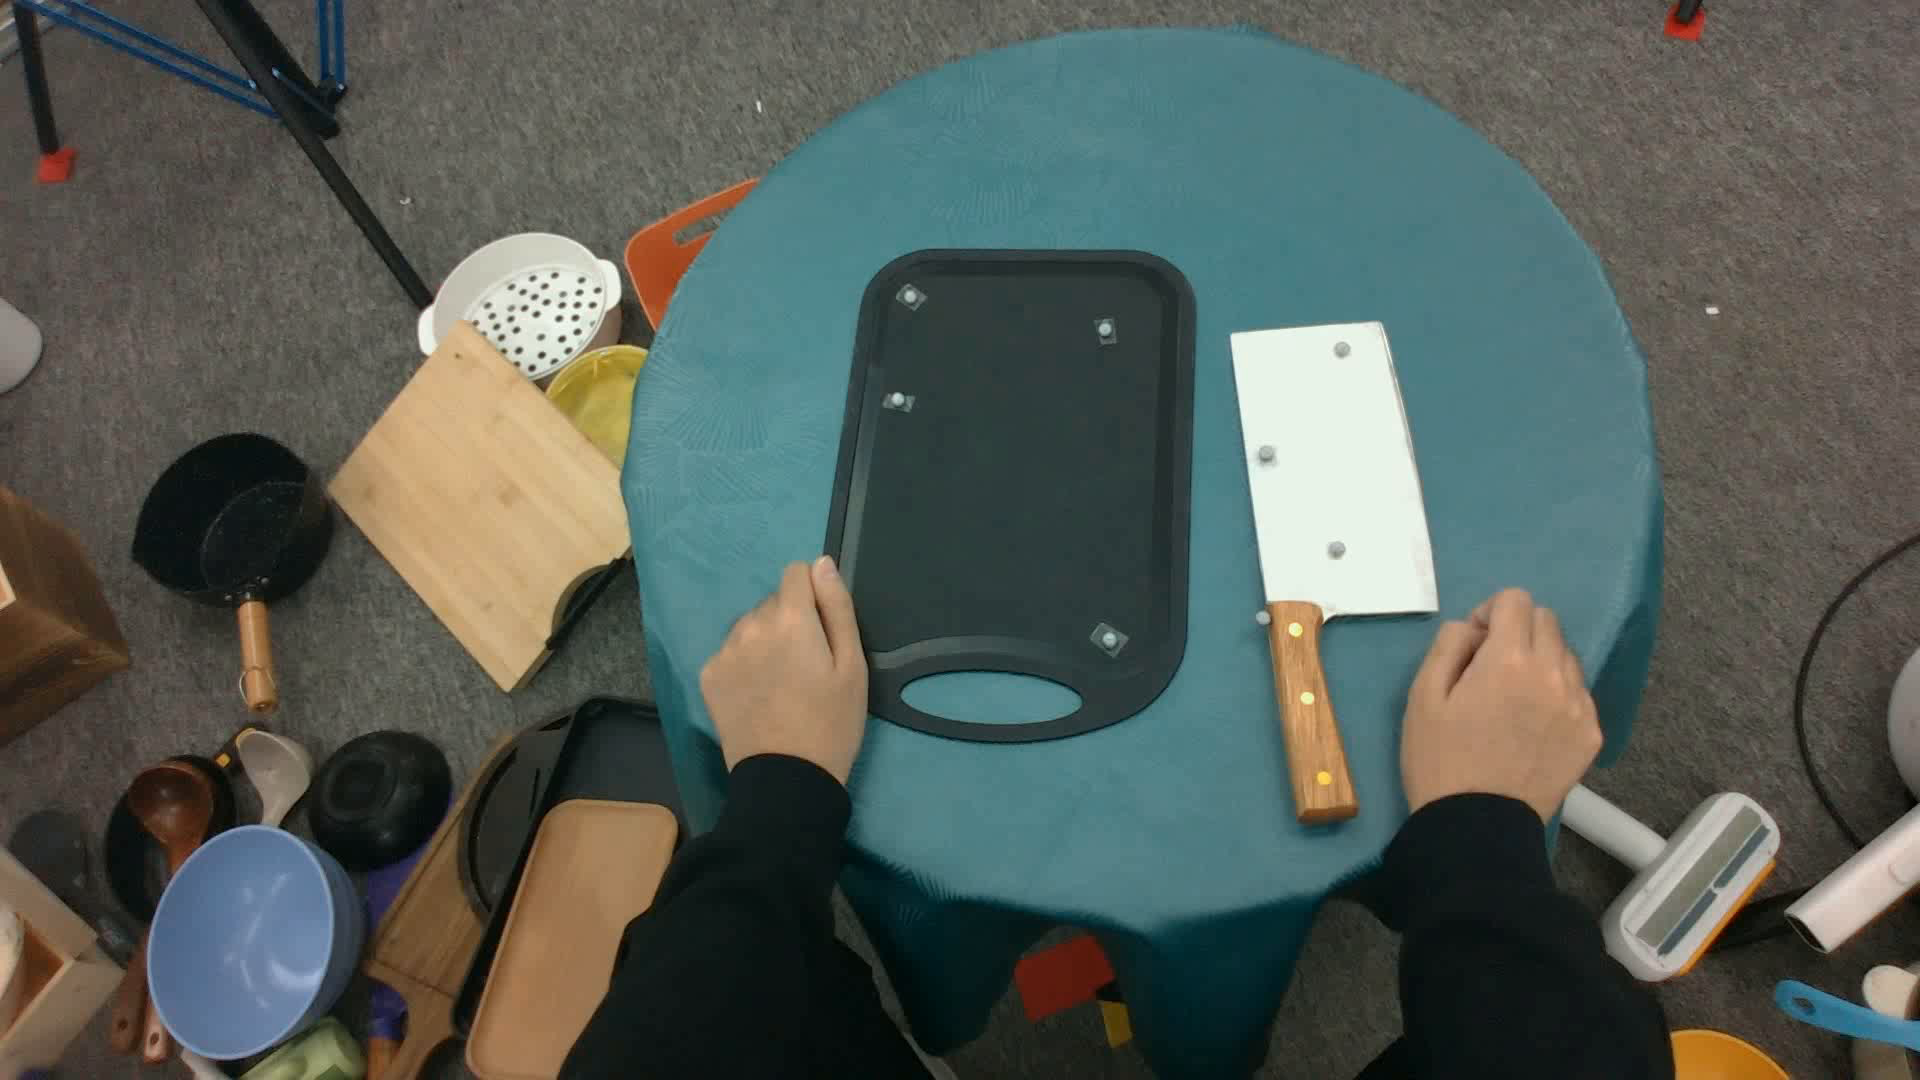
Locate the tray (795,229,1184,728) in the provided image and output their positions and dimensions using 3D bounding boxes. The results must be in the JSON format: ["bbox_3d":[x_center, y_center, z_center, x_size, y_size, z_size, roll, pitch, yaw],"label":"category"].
[{"bbox_3d":[0.021,-0.049,0.798,0.211,0.010,0.326,3,65,7],"label":"tray"}]

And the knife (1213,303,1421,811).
[{"bbox_3d":[0.200,-0.004,0.753,0.093,0.021,0.307,-4,62,3],"label":"knife"}]
